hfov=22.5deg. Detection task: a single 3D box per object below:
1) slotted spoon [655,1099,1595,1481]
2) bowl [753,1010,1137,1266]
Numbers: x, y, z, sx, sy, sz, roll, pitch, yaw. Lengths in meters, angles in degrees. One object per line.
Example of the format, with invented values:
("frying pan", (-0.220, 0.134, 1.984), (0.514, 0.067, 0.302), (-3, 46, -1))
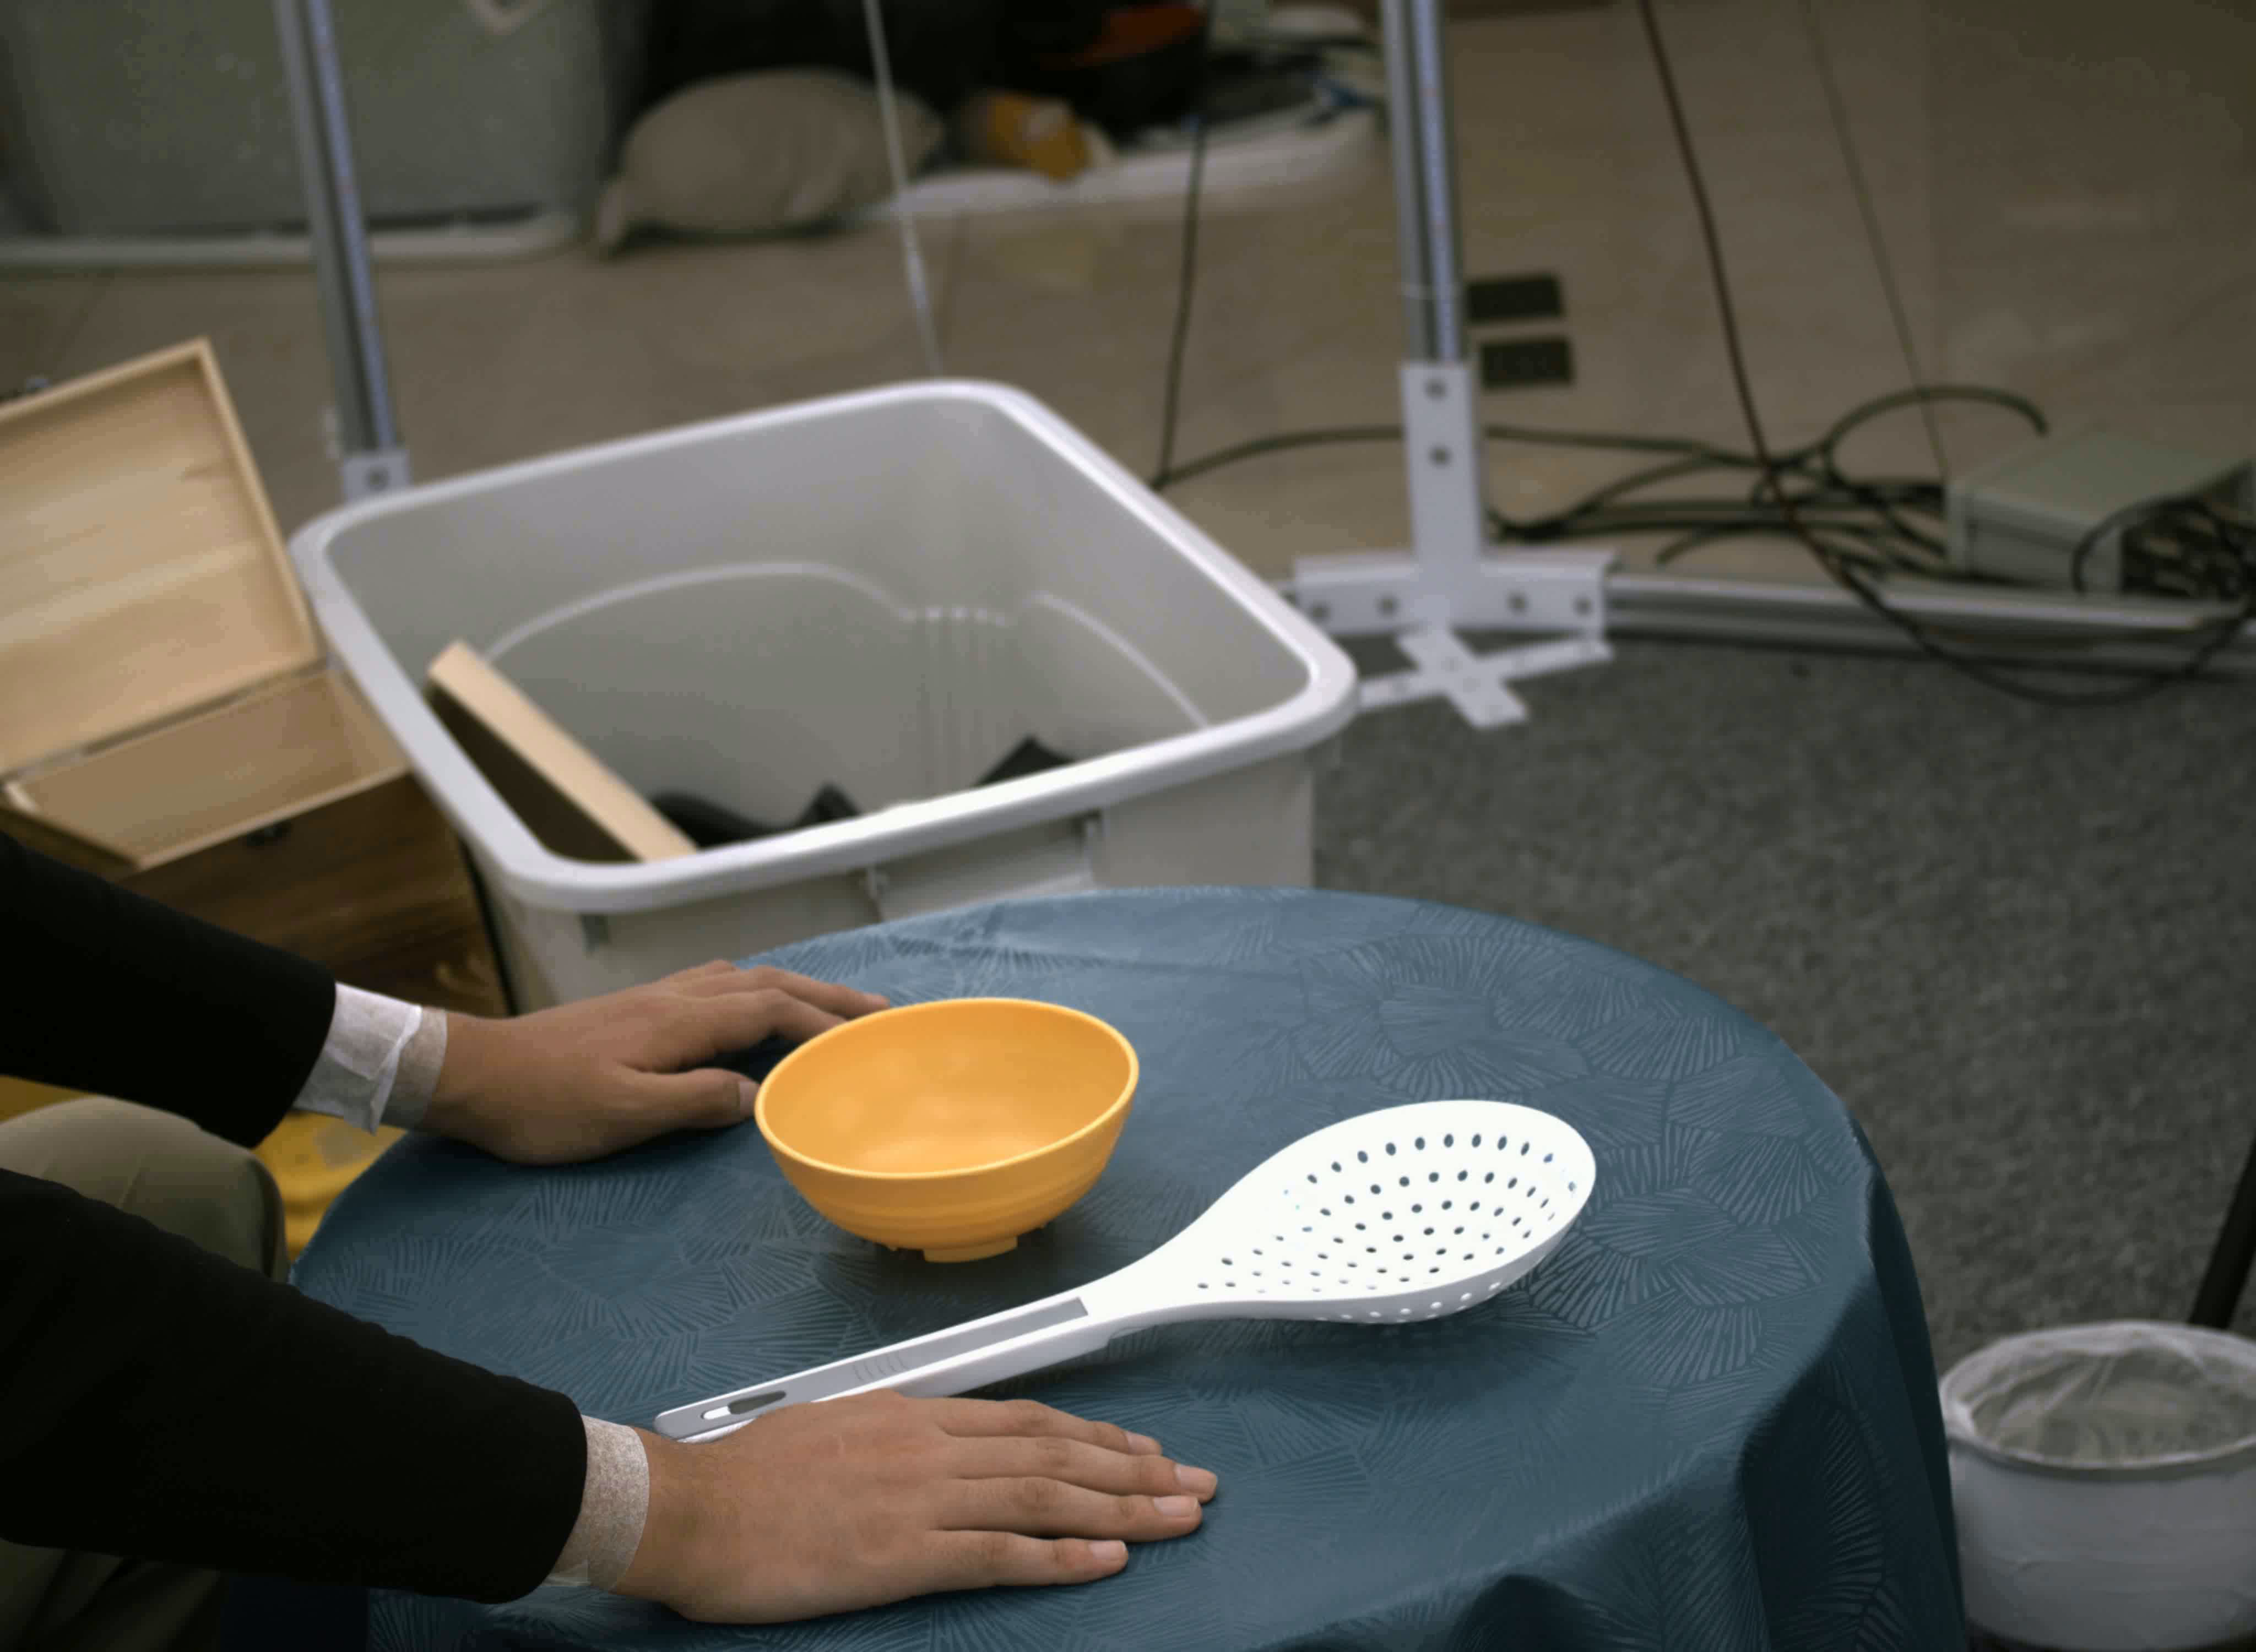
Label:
("slotted spoon", (0.001, 0.171, 2.025), (0.349, 0.046, 0.134), (-13, 25, -11))
("bowl", (-0.066, 0.124, 2.128), (0.145, 0.061, 0.143), (-4, 23, 2))
